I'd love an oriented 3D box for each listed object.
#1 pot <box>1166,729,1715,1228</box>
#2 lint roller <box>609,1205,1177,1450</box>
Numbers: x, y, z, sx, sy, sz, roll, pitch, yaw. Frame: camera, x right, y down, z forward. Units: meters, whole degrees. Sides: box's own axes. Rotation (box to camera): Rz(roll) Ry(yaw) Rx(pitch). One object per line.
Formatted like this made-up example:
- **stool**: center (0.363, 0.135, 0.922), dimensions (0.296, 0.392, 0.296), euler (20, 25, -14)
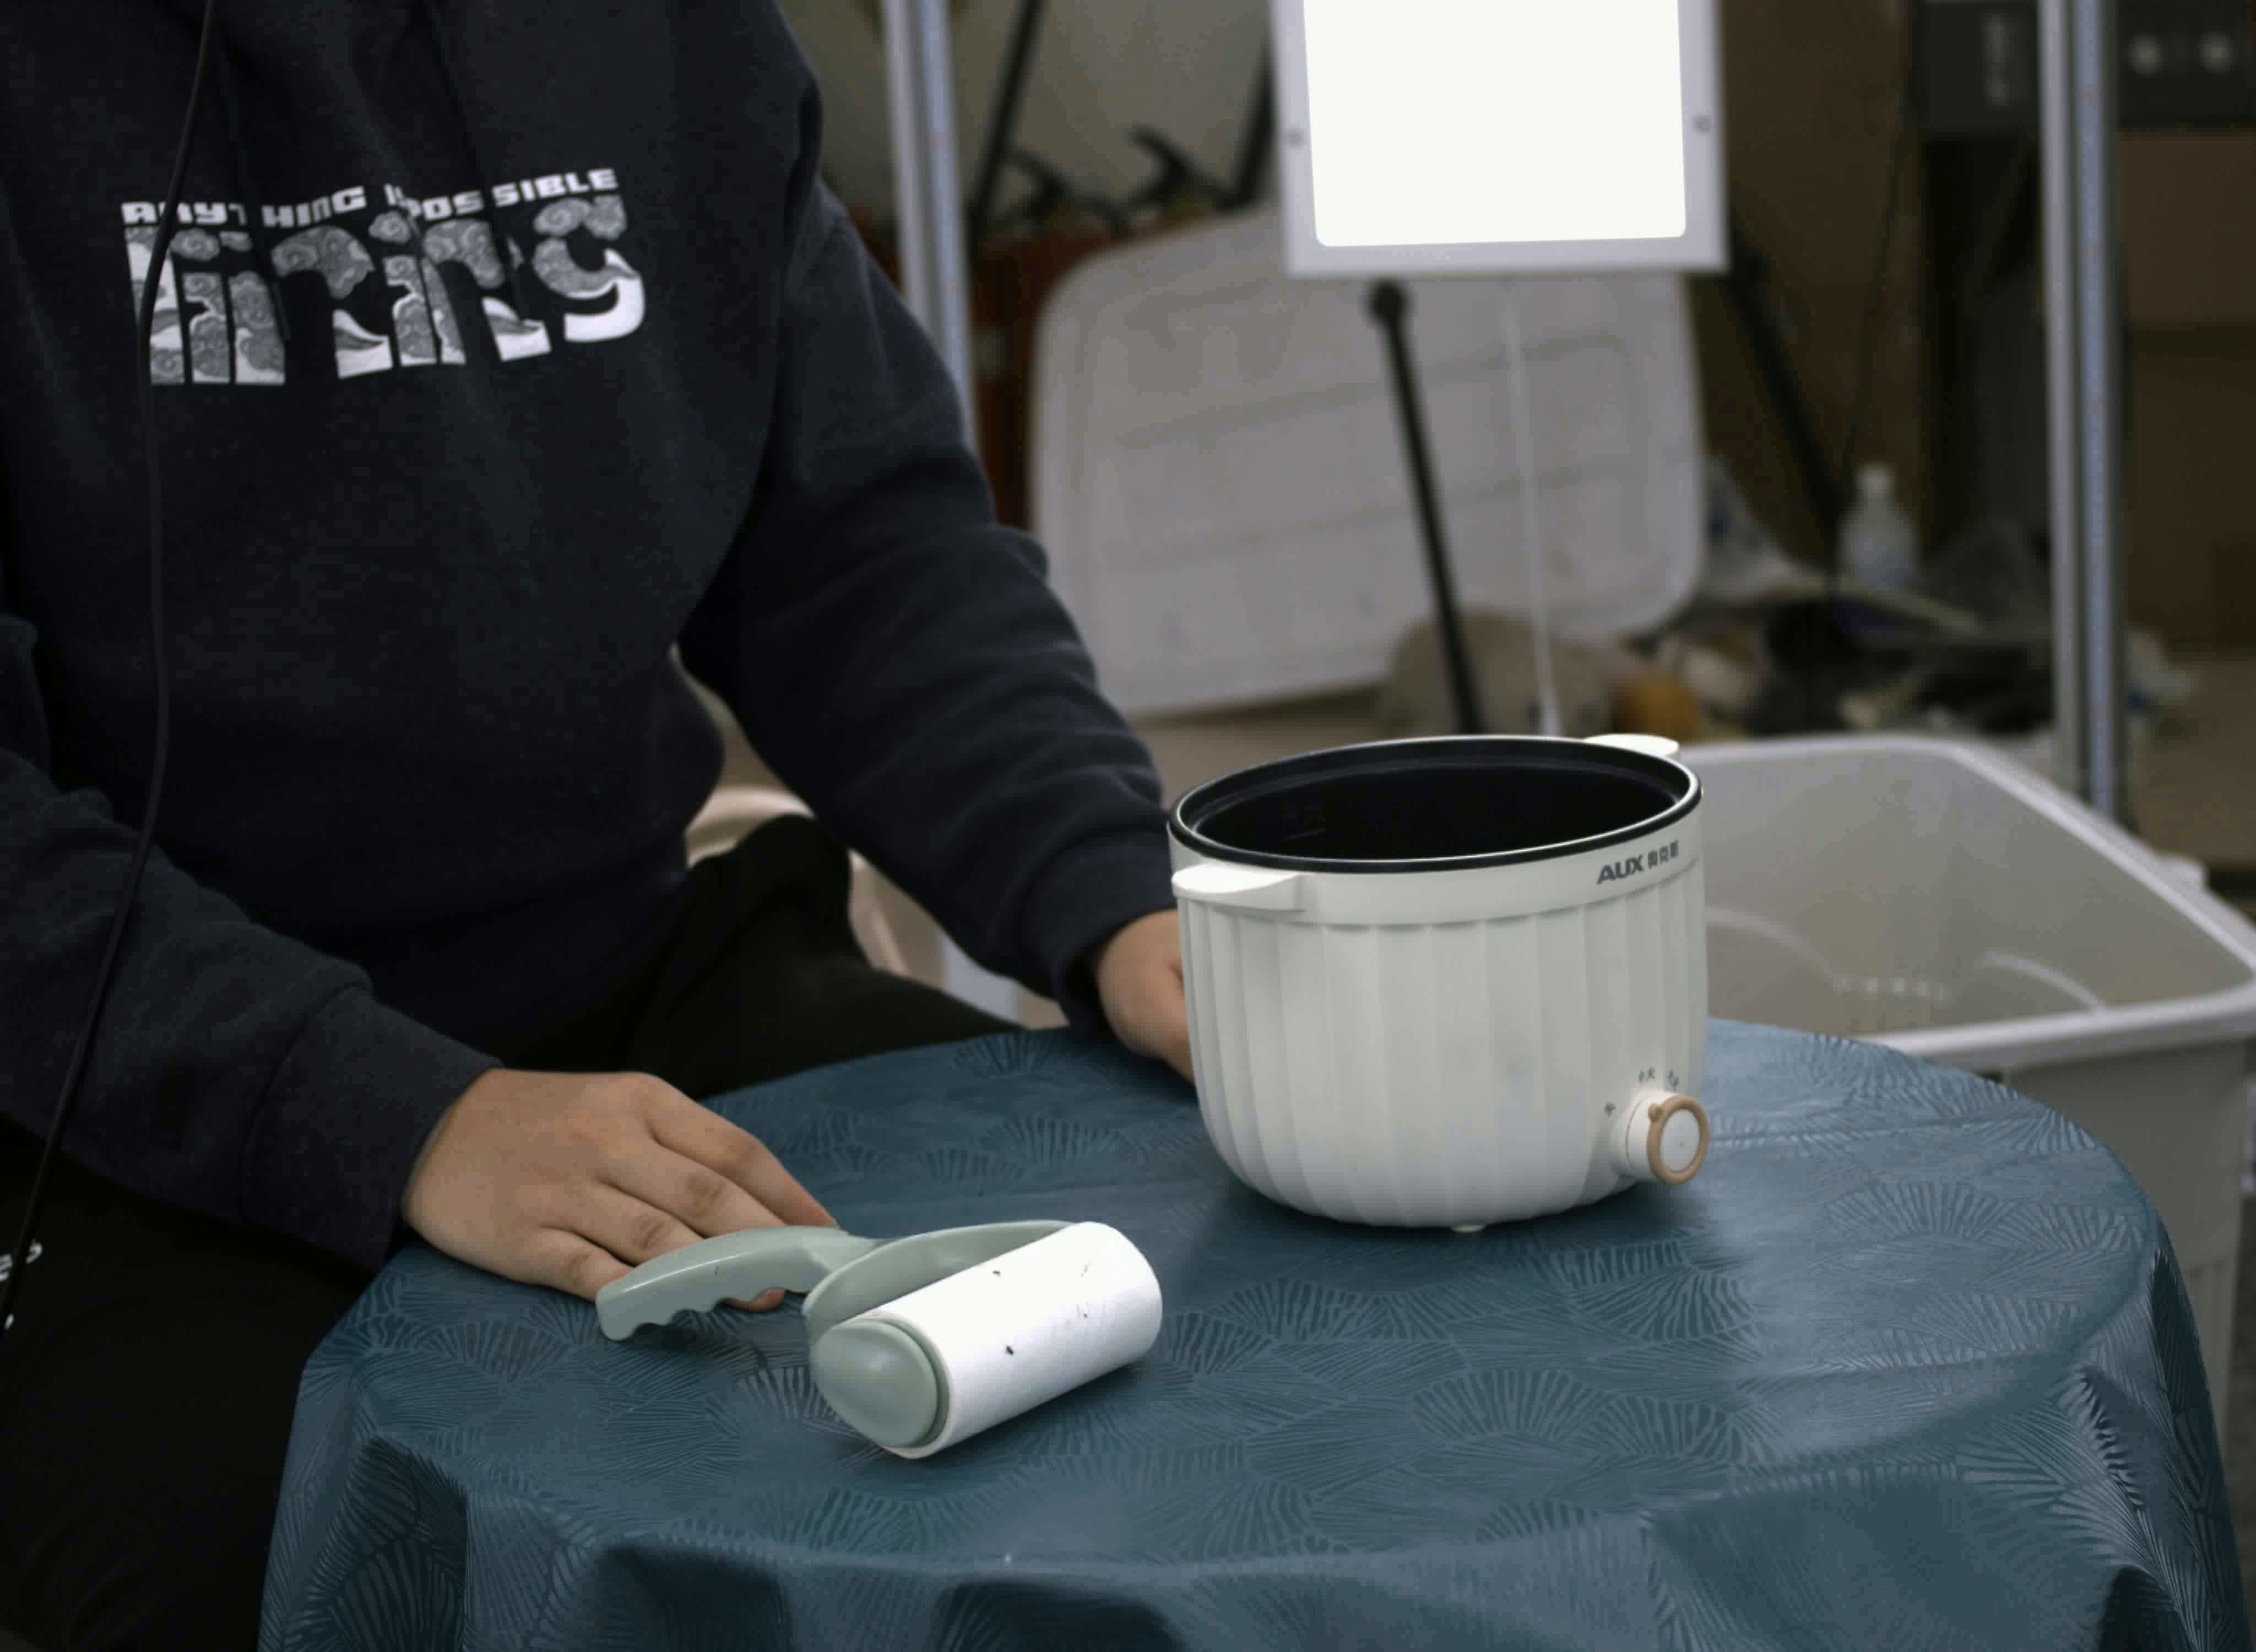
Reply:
- **pot**: center (0.113, 0.053, 1.865), dimensions (0.234, 0.143, 0.195), euler (-19, 17, -42)
- **lint roller**: center (-0.089, 0.151, 1.740), dimensions (0.202, 0.048, 0.114), euler (3, 18, 41)
